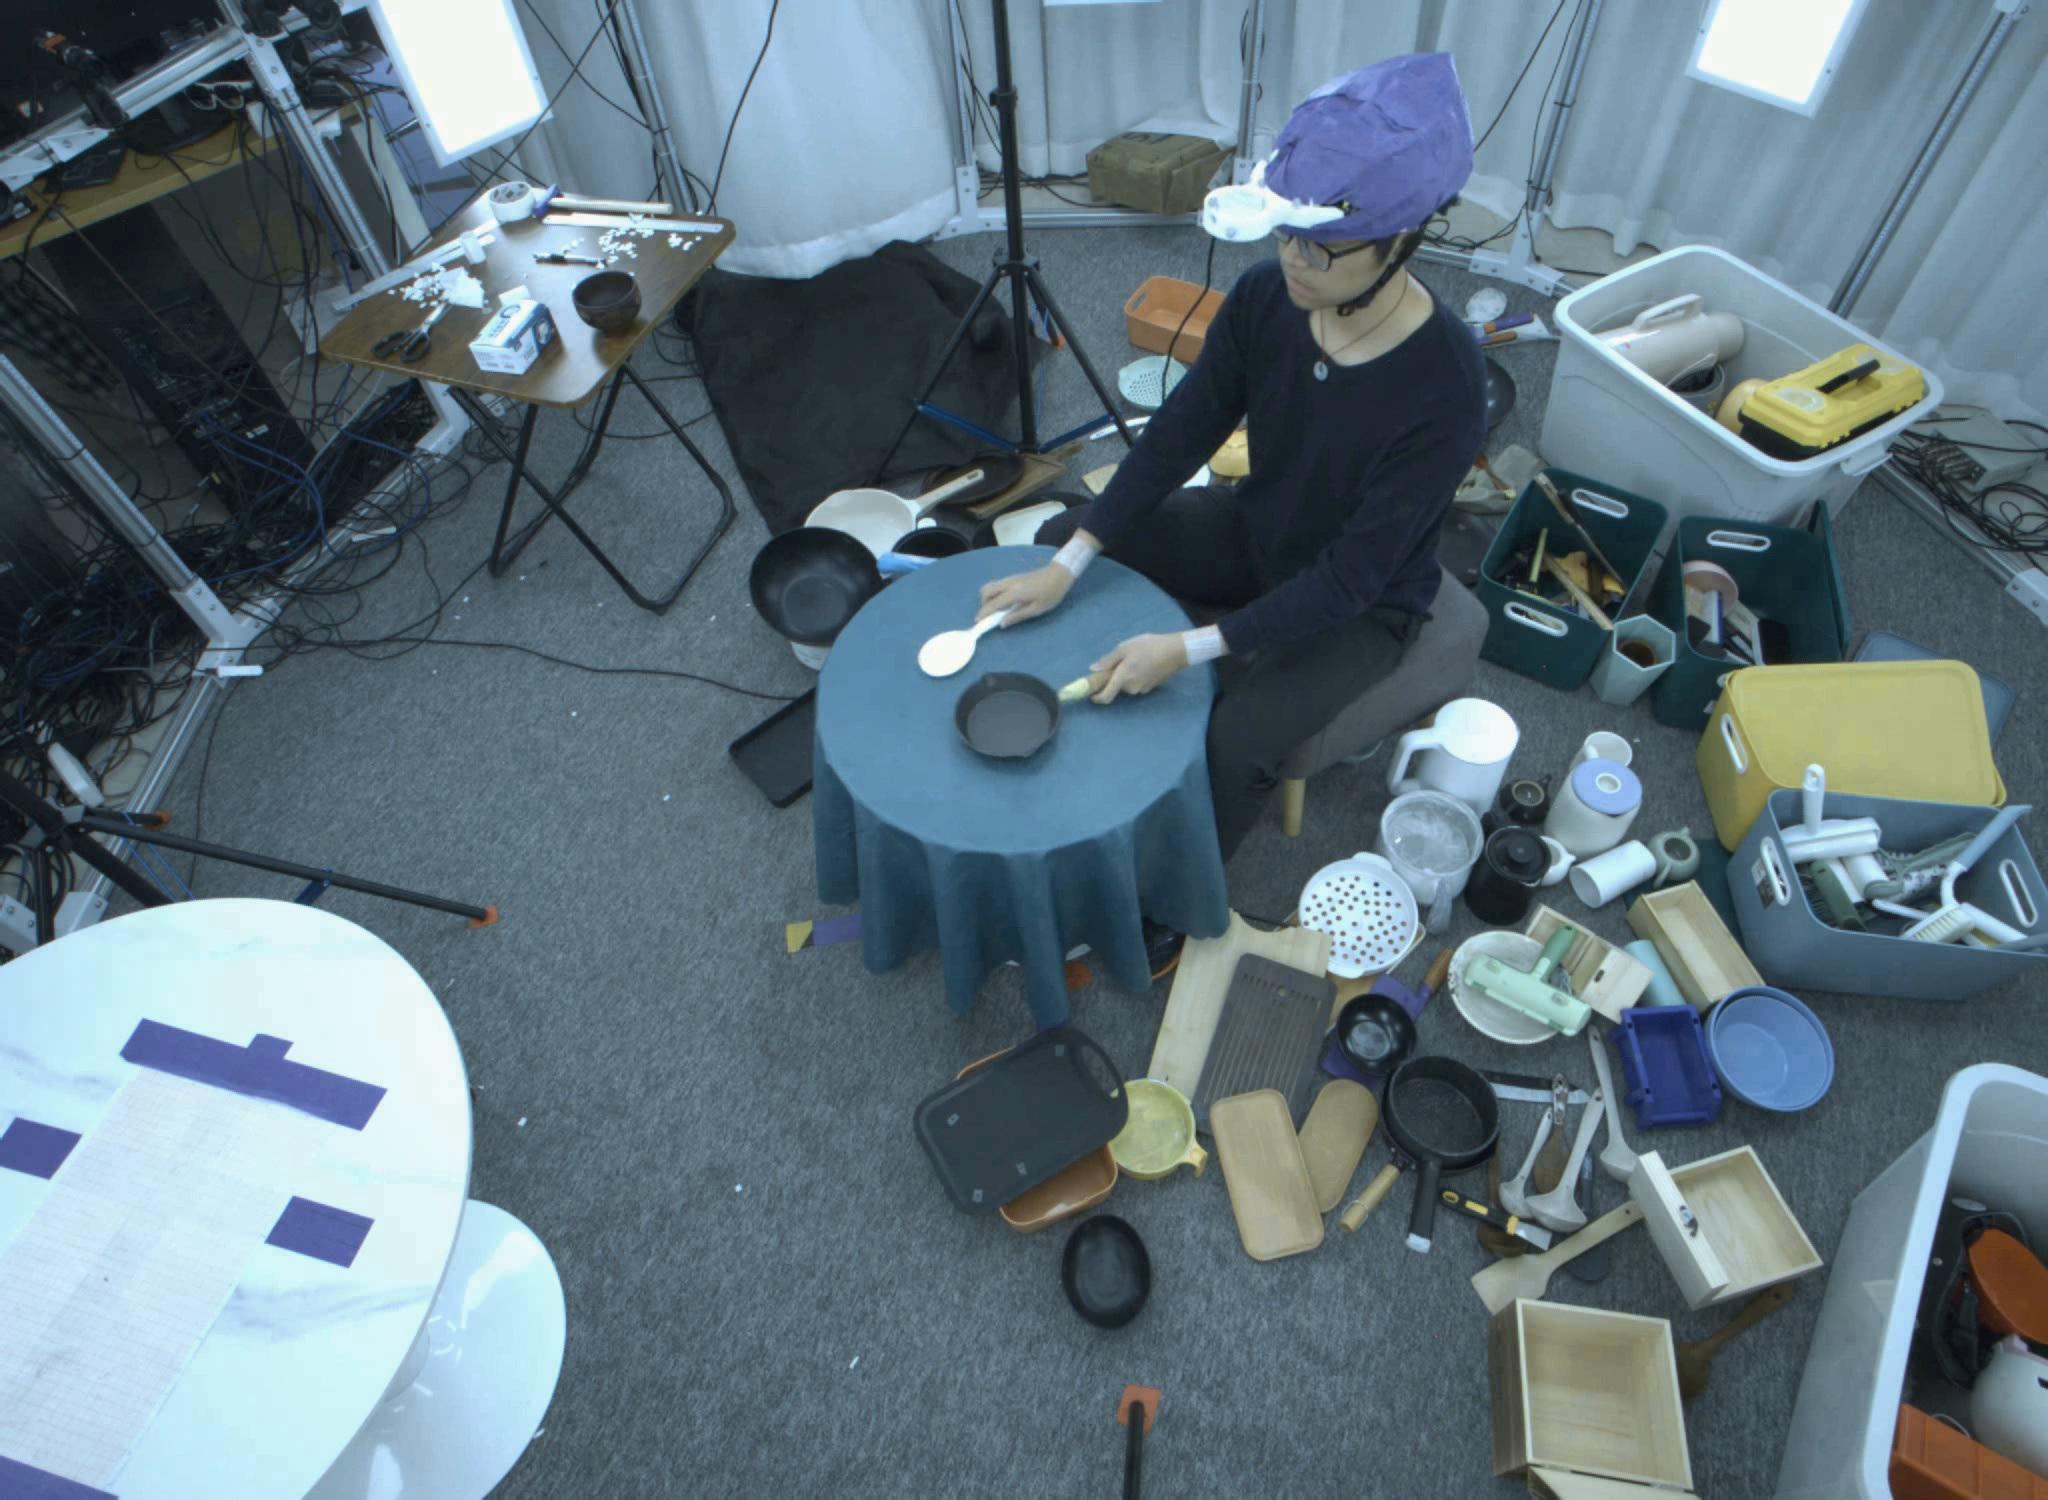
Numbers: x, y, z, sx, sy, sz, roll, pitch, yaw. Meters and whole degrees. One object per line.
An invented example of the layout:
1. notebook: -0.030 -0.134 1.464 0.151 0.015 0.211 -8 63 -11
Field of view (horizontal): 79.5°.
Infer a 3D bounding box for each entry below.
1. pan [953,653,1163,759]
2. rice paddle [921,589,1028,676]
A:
1. pan: 0.055 -0.078 1.808 0.326 0.050 0.166 -19 56 -9
2. rice paddle: -0.076 -0.182 1.900 0.206 0.029 0.068 -39 70 -23
